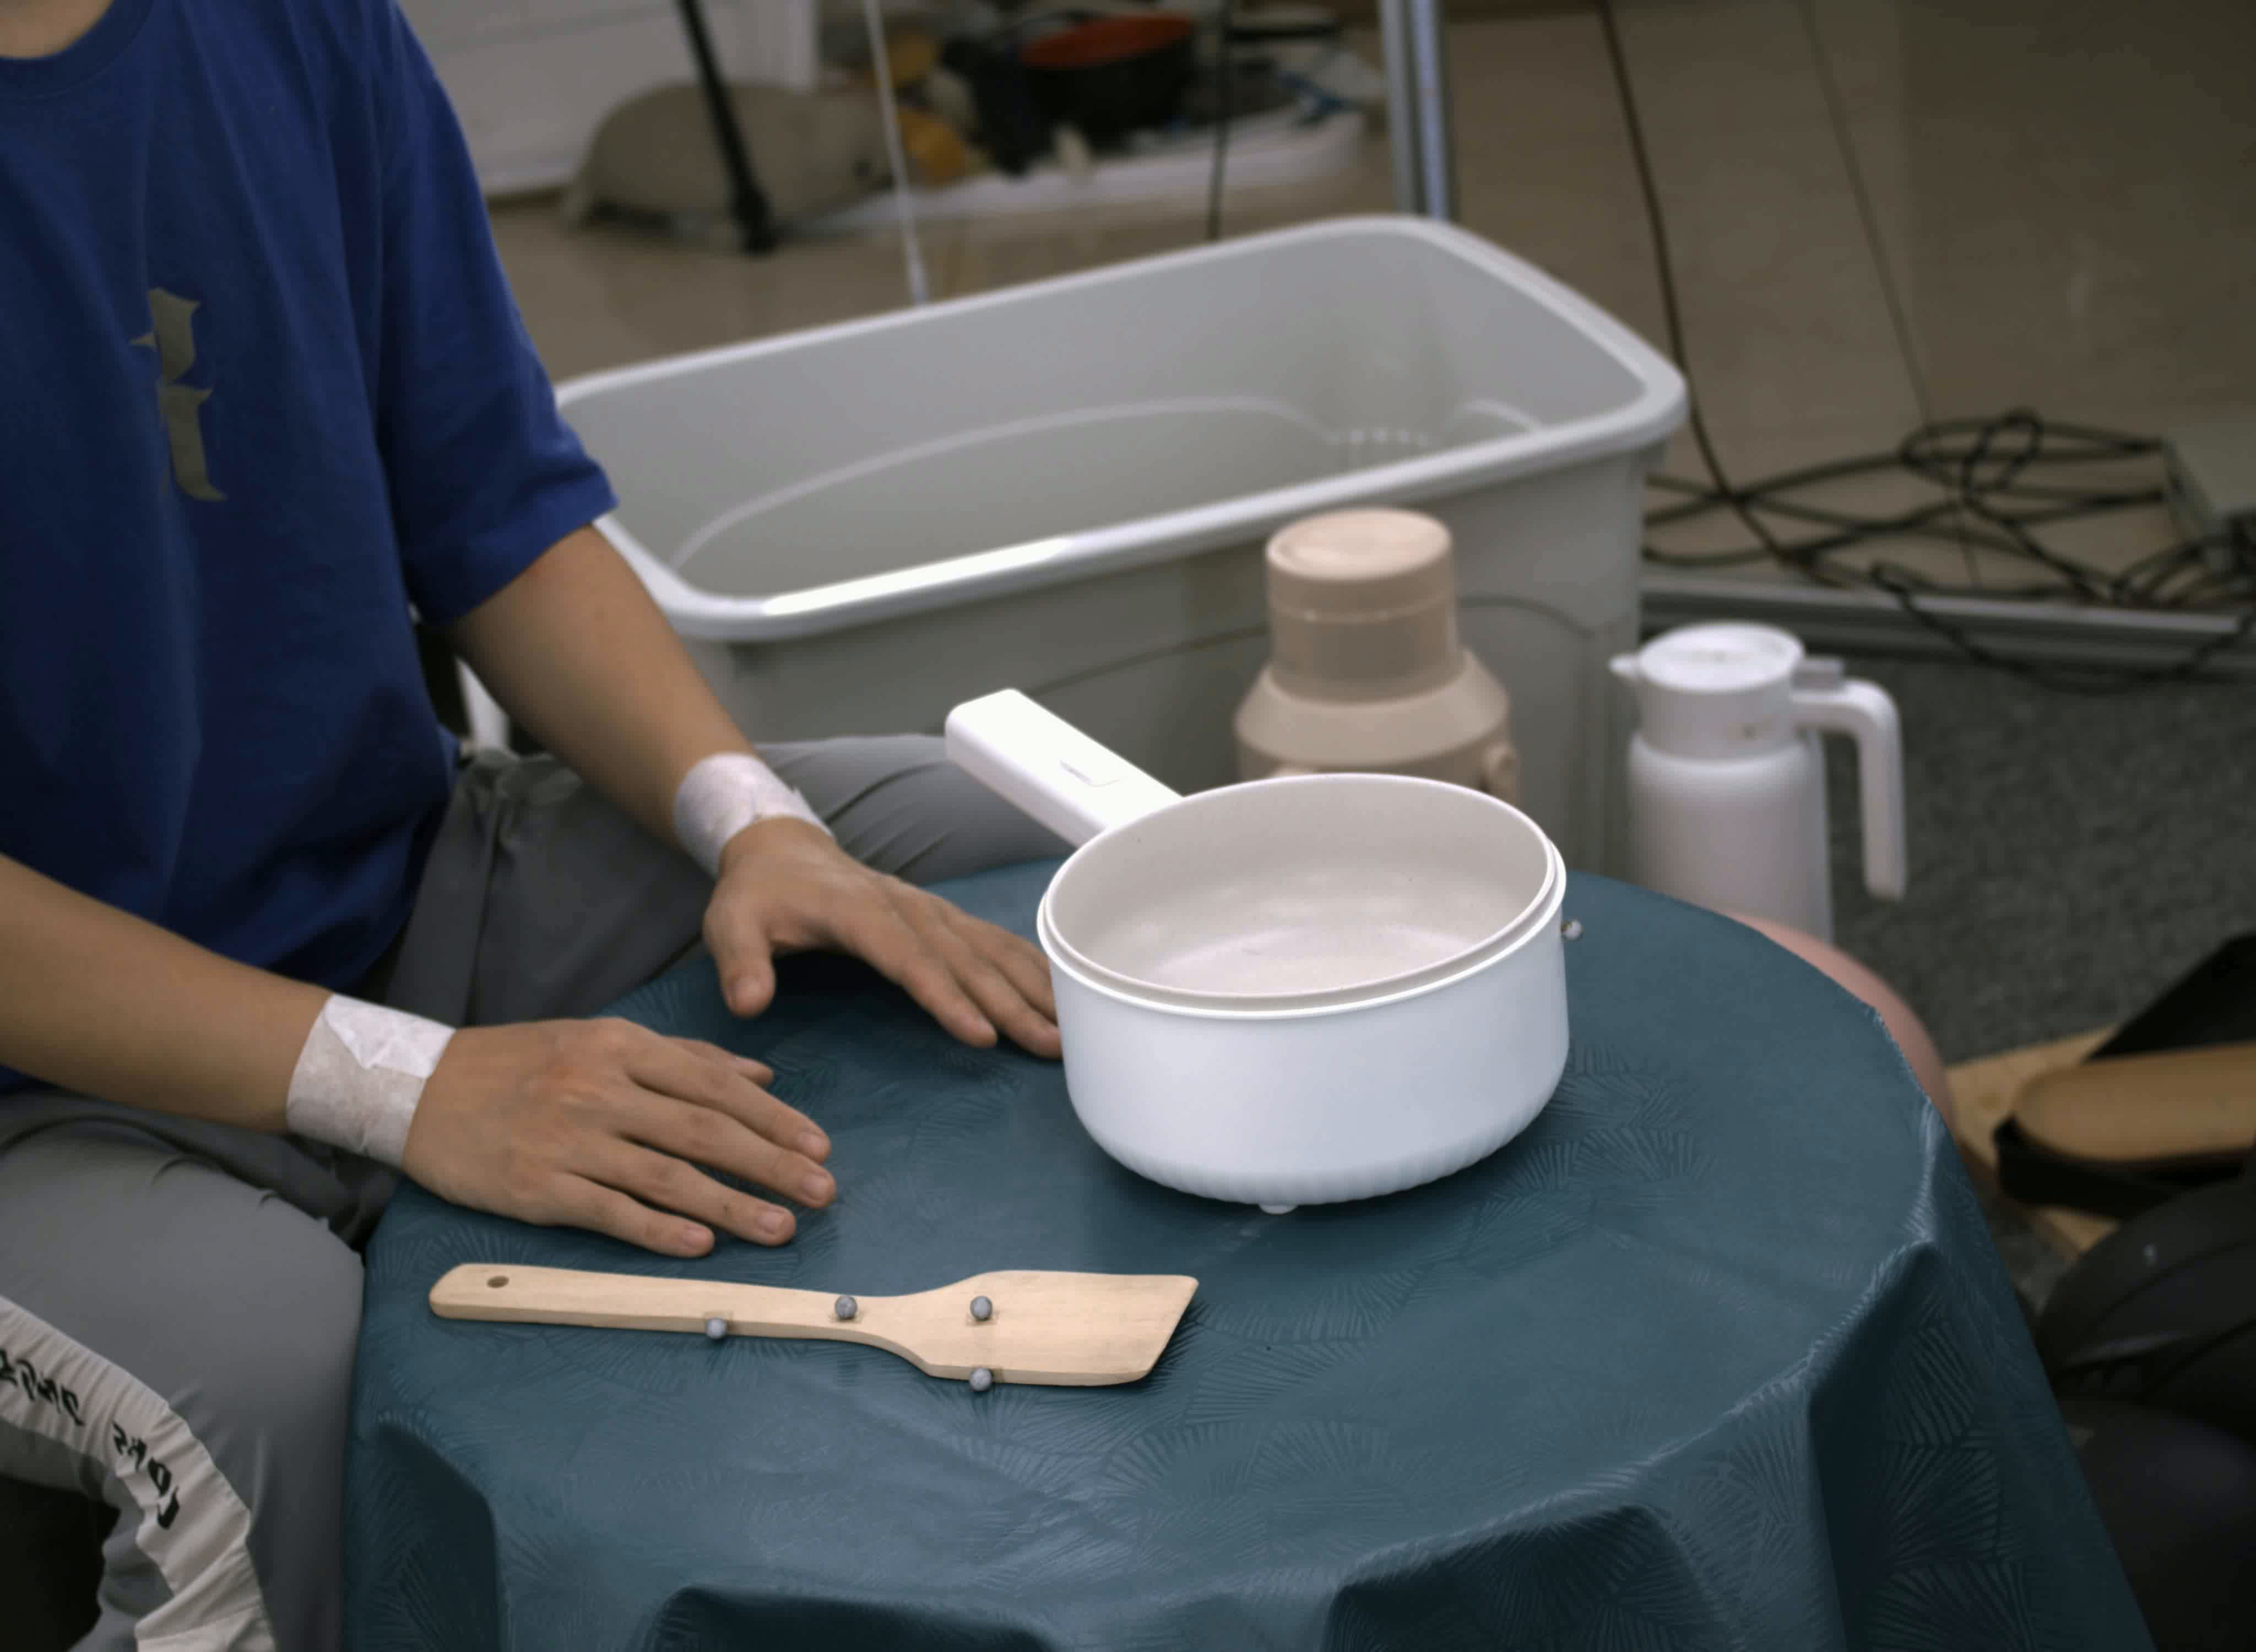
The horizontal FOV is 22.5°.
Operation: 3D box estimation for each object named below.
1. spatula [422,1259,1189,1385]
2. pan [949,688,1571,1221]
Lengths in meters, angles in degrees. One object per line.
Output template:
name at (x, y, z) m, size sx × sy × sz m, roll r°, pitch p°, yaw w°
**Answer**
spatula at (-0.124, 0.177, 2.084) m, size 0.292 × 0.011 × 0.071 m, roll 2°, pitch 27°, yaw 18°
pan at (0.032, 0.044, 2.228) m, size 0.200 × 0.104 × 0.351 m, roll -21°, pitch 29°, yaw -24°
